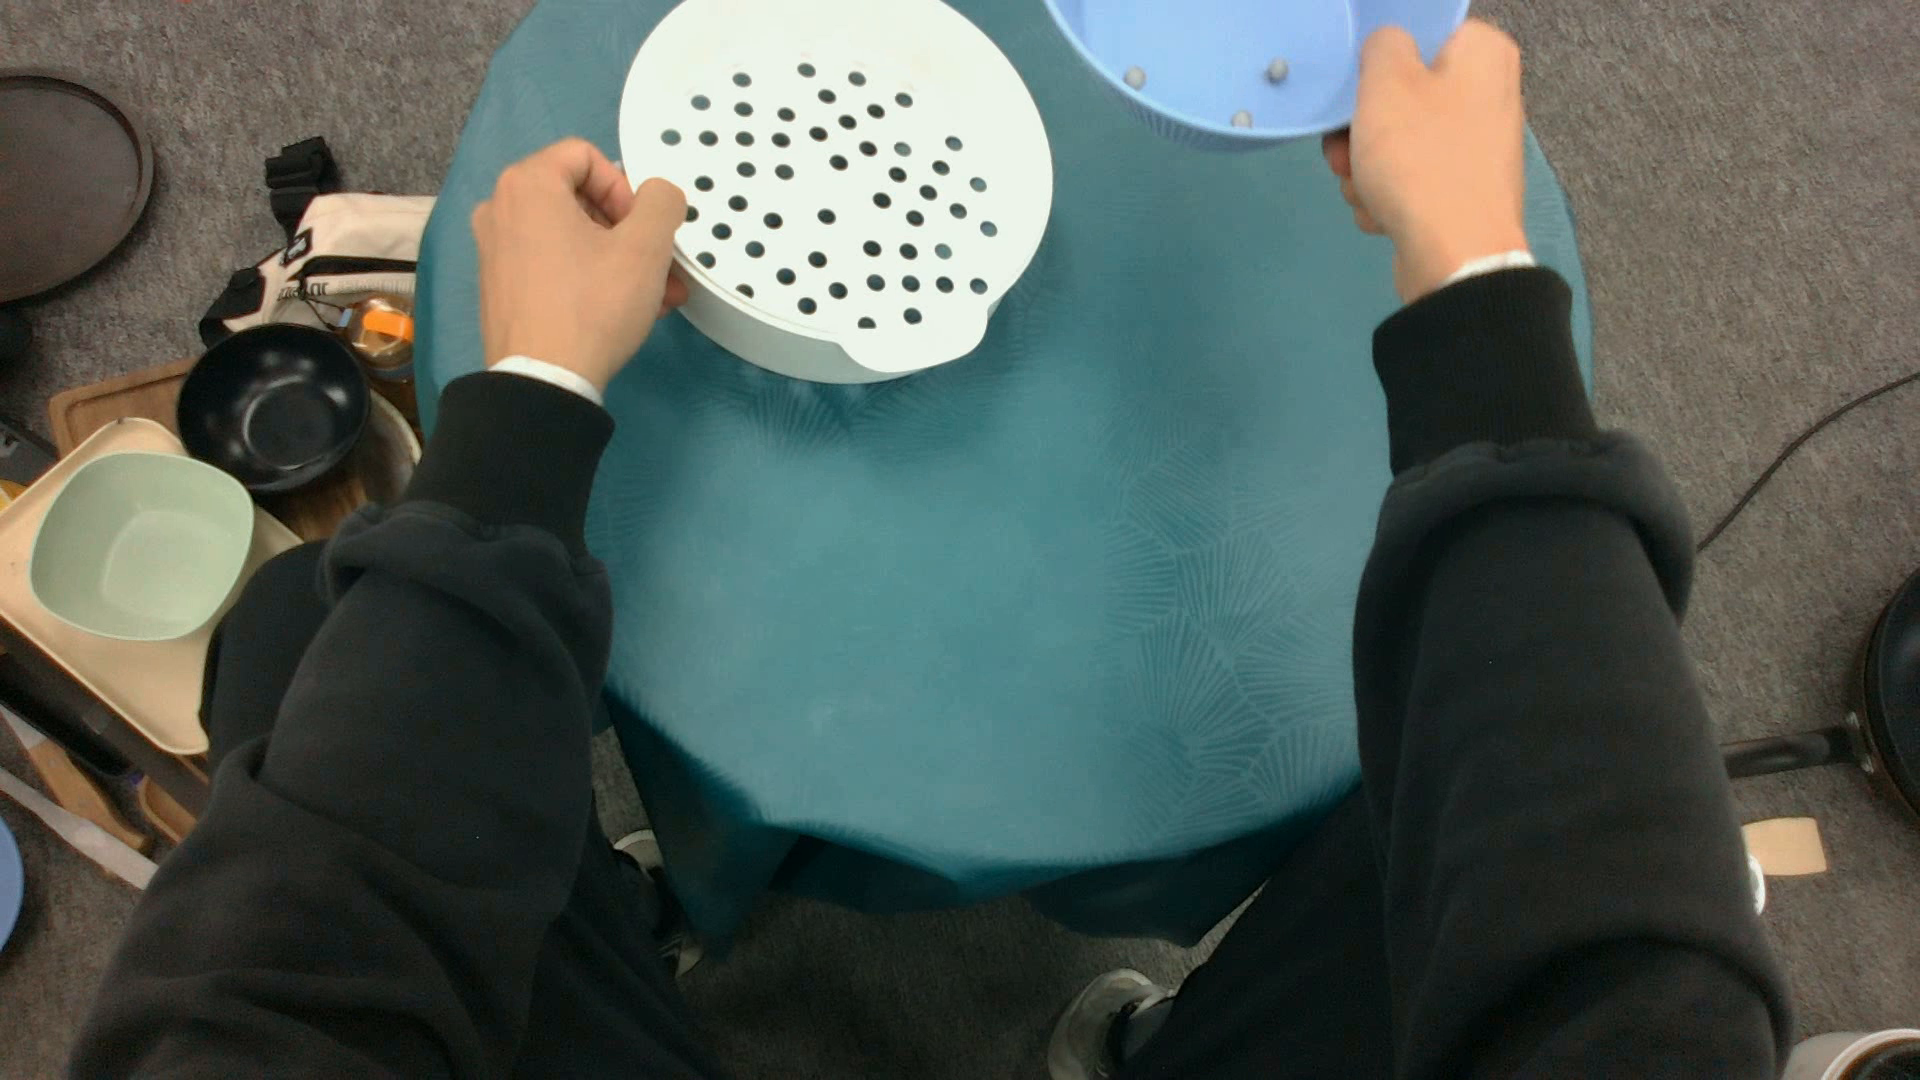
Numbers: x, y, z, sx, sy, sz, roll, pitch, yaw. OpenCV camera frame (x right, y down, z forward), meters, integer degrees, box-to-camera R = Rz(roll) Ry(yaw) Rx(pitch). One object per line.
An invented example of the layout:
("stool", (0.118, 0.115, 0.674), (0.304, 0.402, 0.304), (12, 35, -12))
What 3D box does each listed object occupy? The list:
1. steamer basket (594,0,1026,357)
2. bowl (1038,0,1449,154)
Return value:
("steamer basket", (-0.073, -0.185, 0.667), (0.202, 0.069, 0.231), (-17, 74, -20))
("bowl", (0.111, -0.233, 0.584), (0.176, 0.070, 0.176), (1, 77, -4))
